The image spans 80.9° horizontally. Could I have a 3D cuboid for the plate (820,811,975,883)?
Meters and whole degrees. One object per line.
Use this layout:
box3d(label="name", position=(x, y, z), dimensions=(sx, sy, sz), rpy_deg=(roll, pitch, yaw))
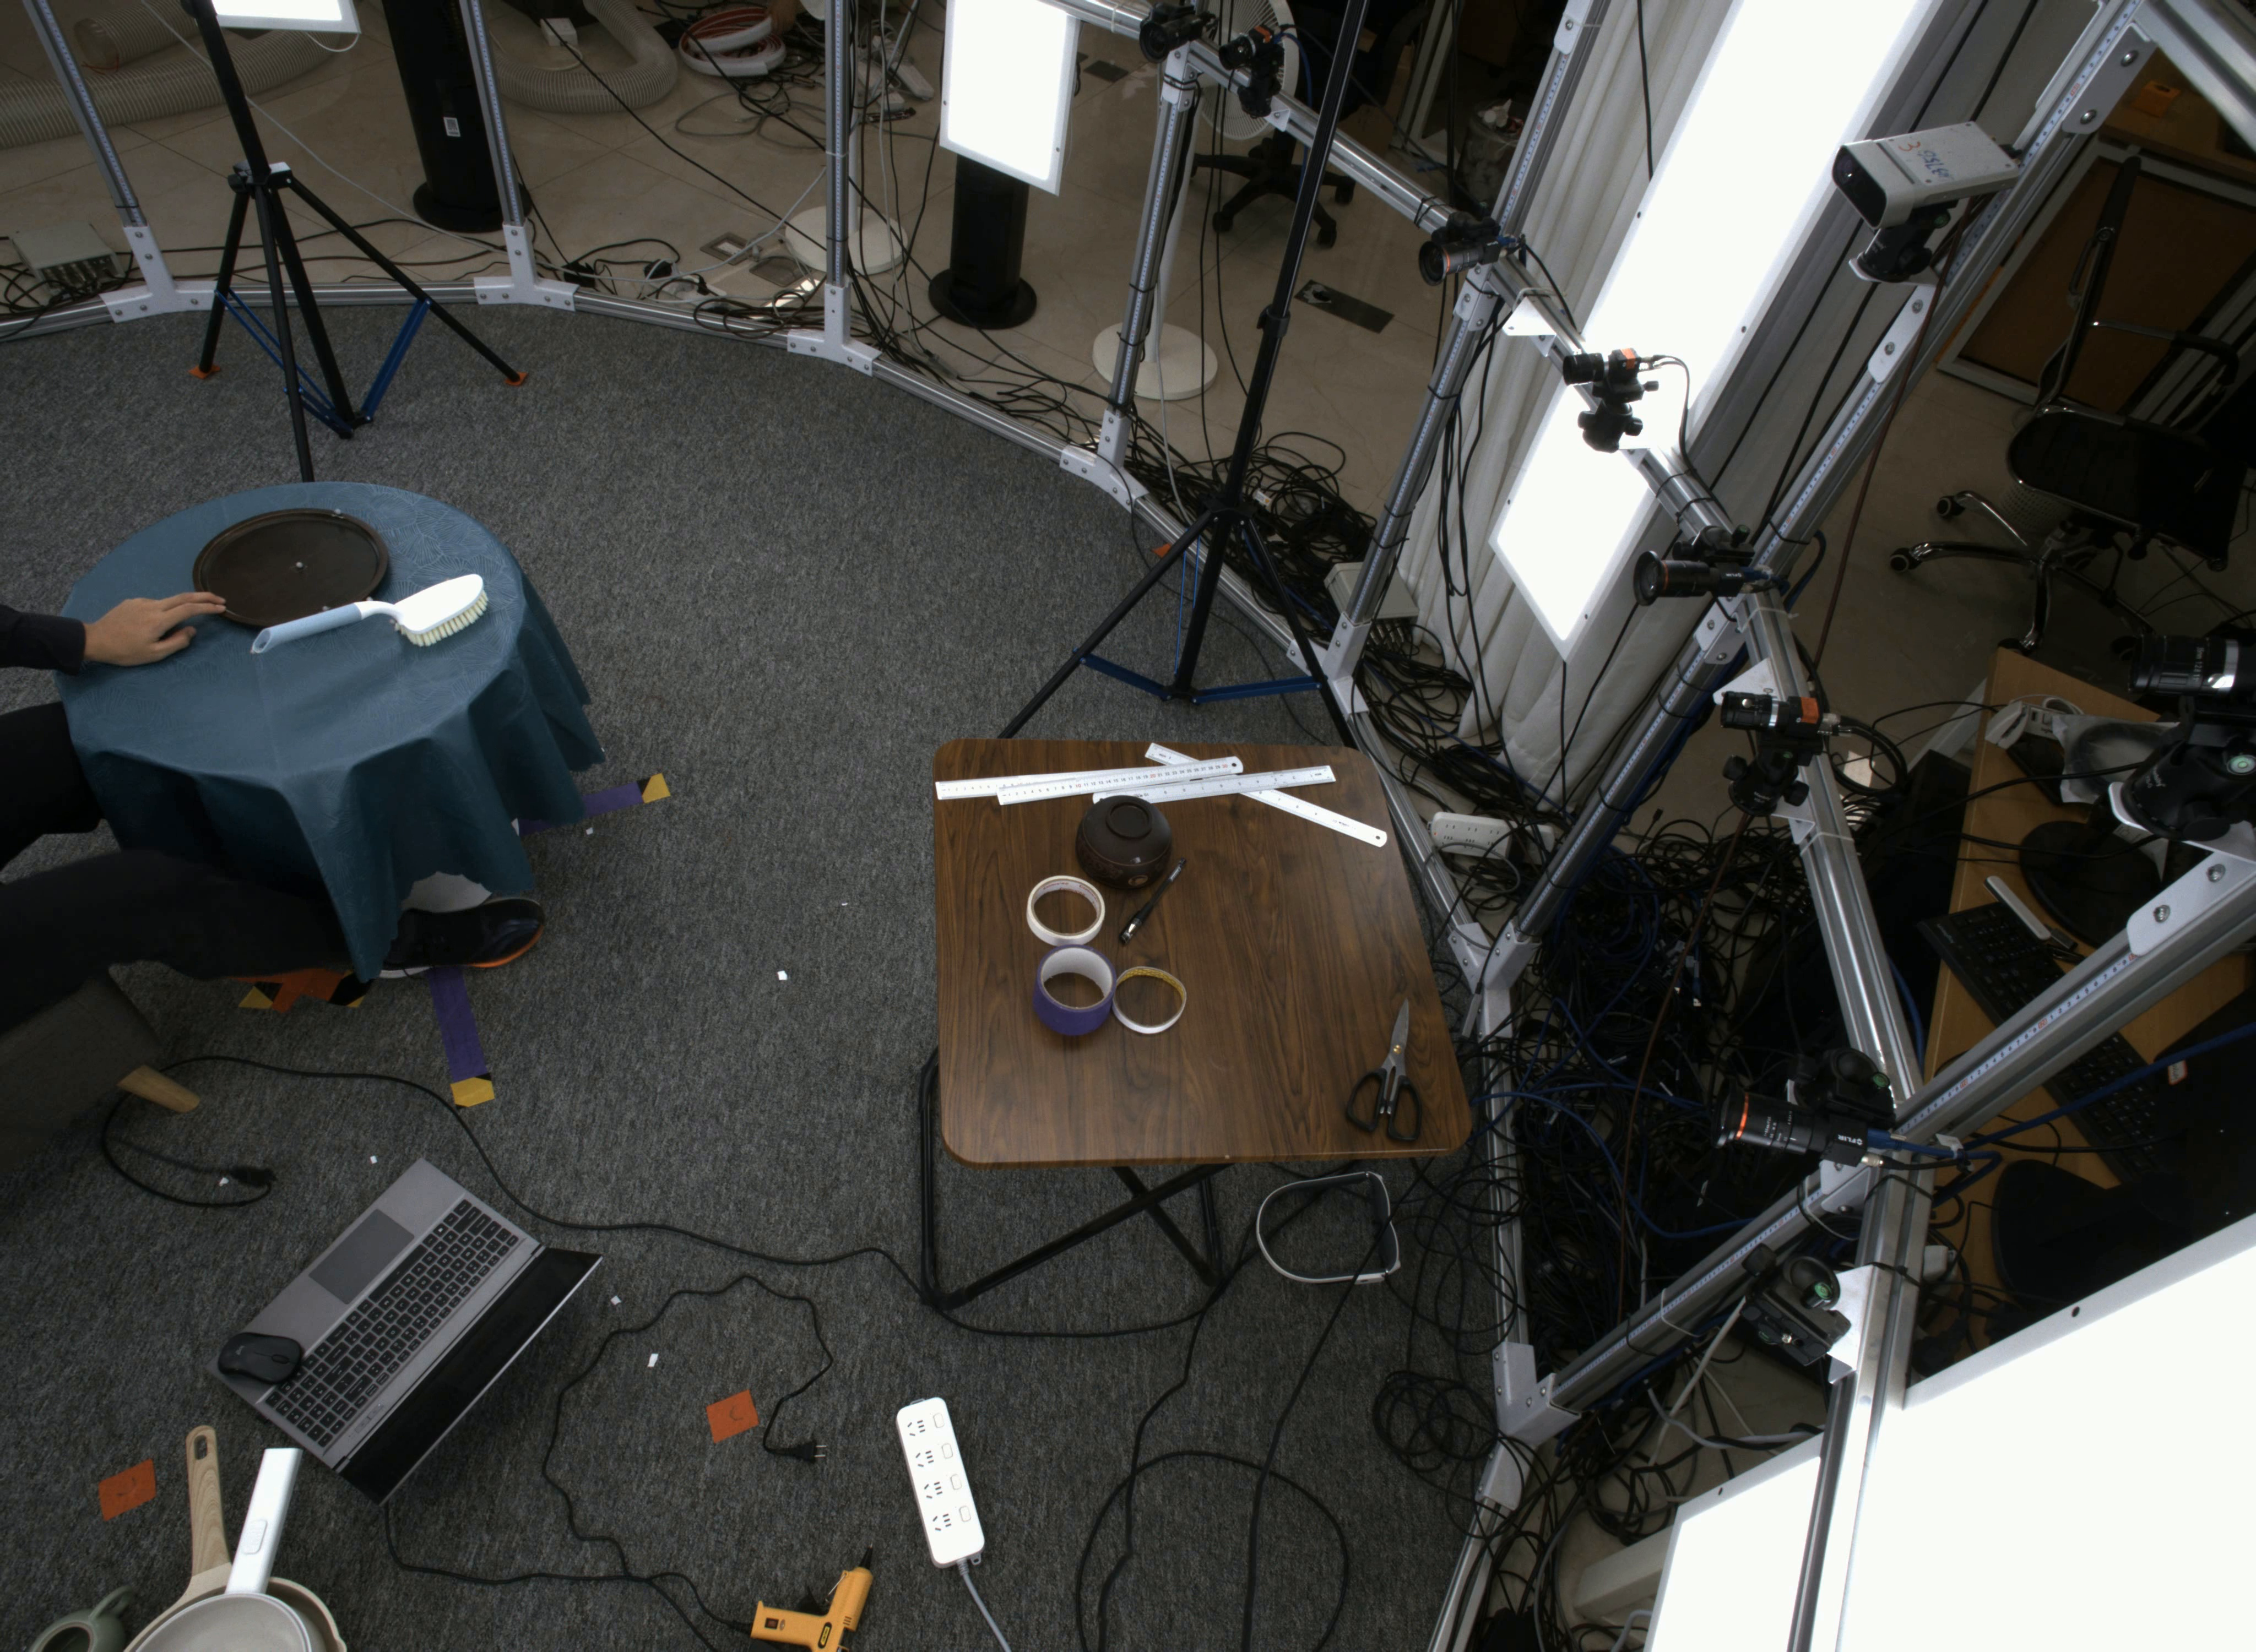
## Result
box3d(label="plate", position=(-0.379, 0.031, 2.142), dimensions=(0.253, 0.030, 0.250), rpy_deg=(8, 25, -2))

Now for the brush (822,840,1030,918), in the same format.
box3d(label="brush", position=(-0.303, 0.090, 1.956), dimensions=(0.330, 0.084, 0.082), rpy_deg=(10, -17, -25))
